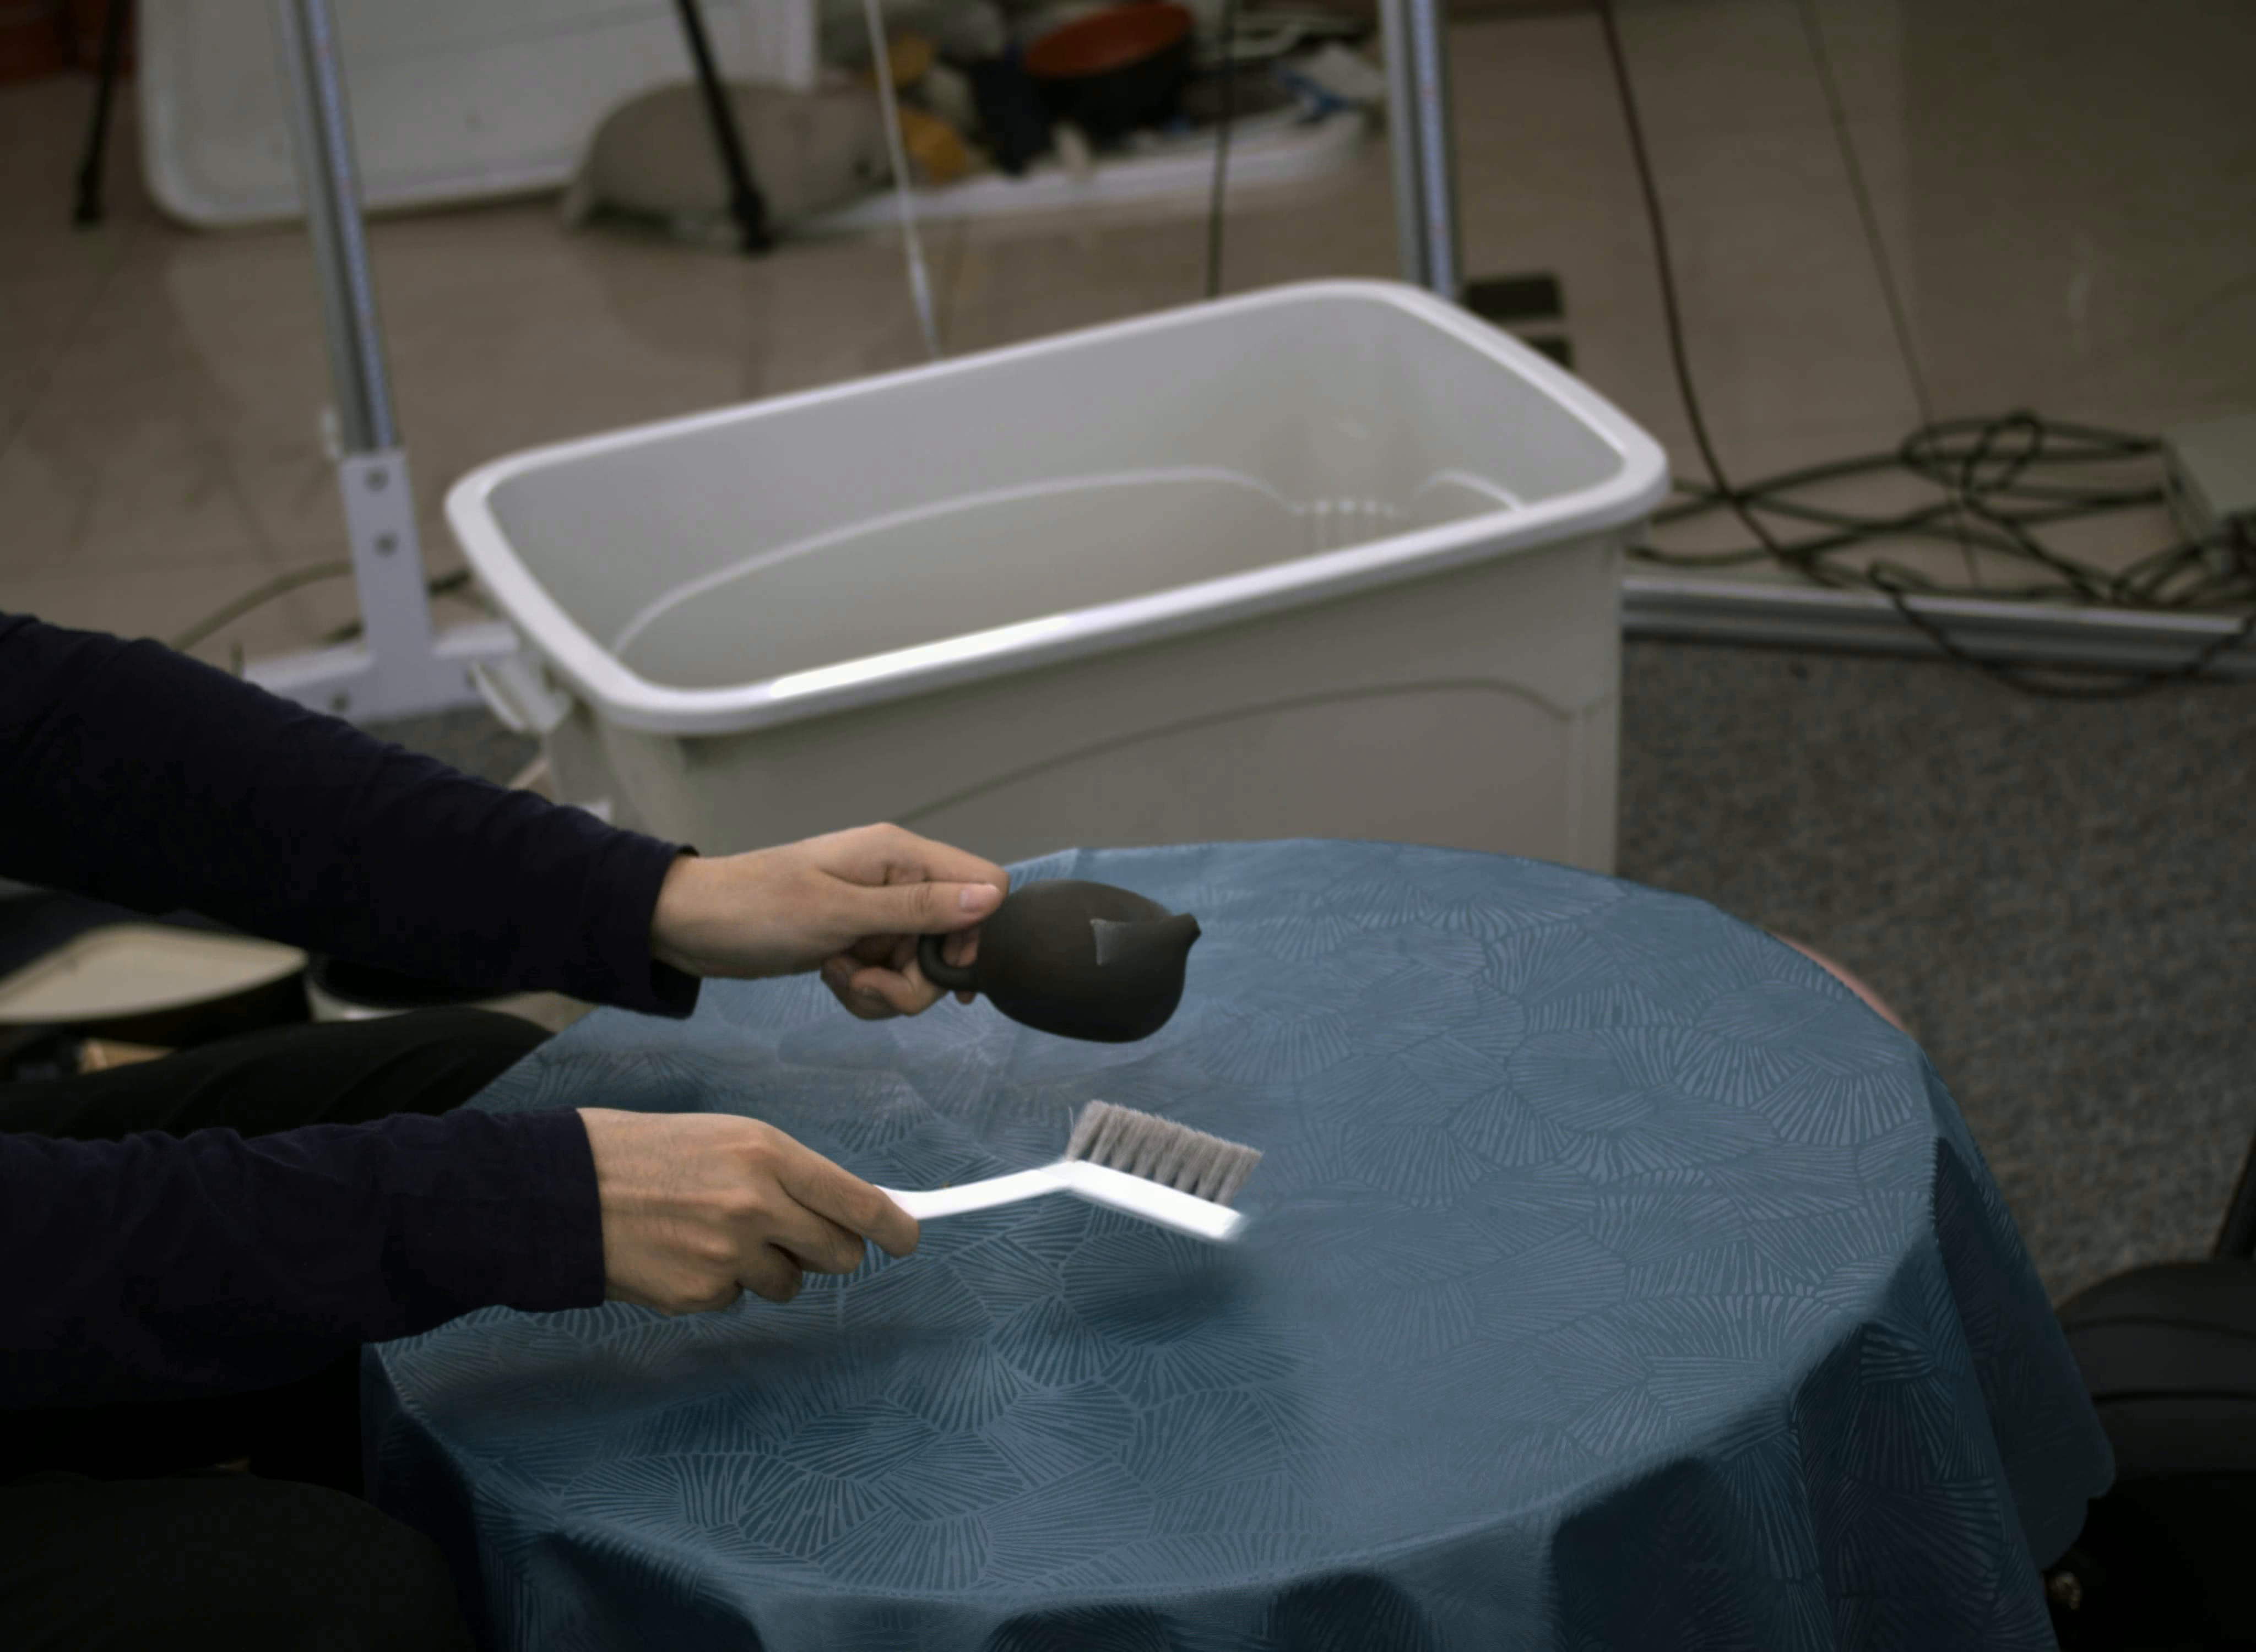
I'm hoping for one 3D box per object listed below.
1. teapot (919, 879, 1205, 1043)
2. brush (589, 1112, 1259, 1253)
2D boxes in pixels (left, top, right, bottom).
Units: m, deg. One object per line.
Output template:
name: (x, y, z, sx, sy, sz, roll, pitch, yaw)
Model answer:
teapot: (-0.028, 0.051, 2.198, 0.114, 0.052, 0.084, 5, -14, 22)
brush: (-0.074, 0.127, 2.064, 0.243, 0.050, 0.034, 2, 1, -1)
